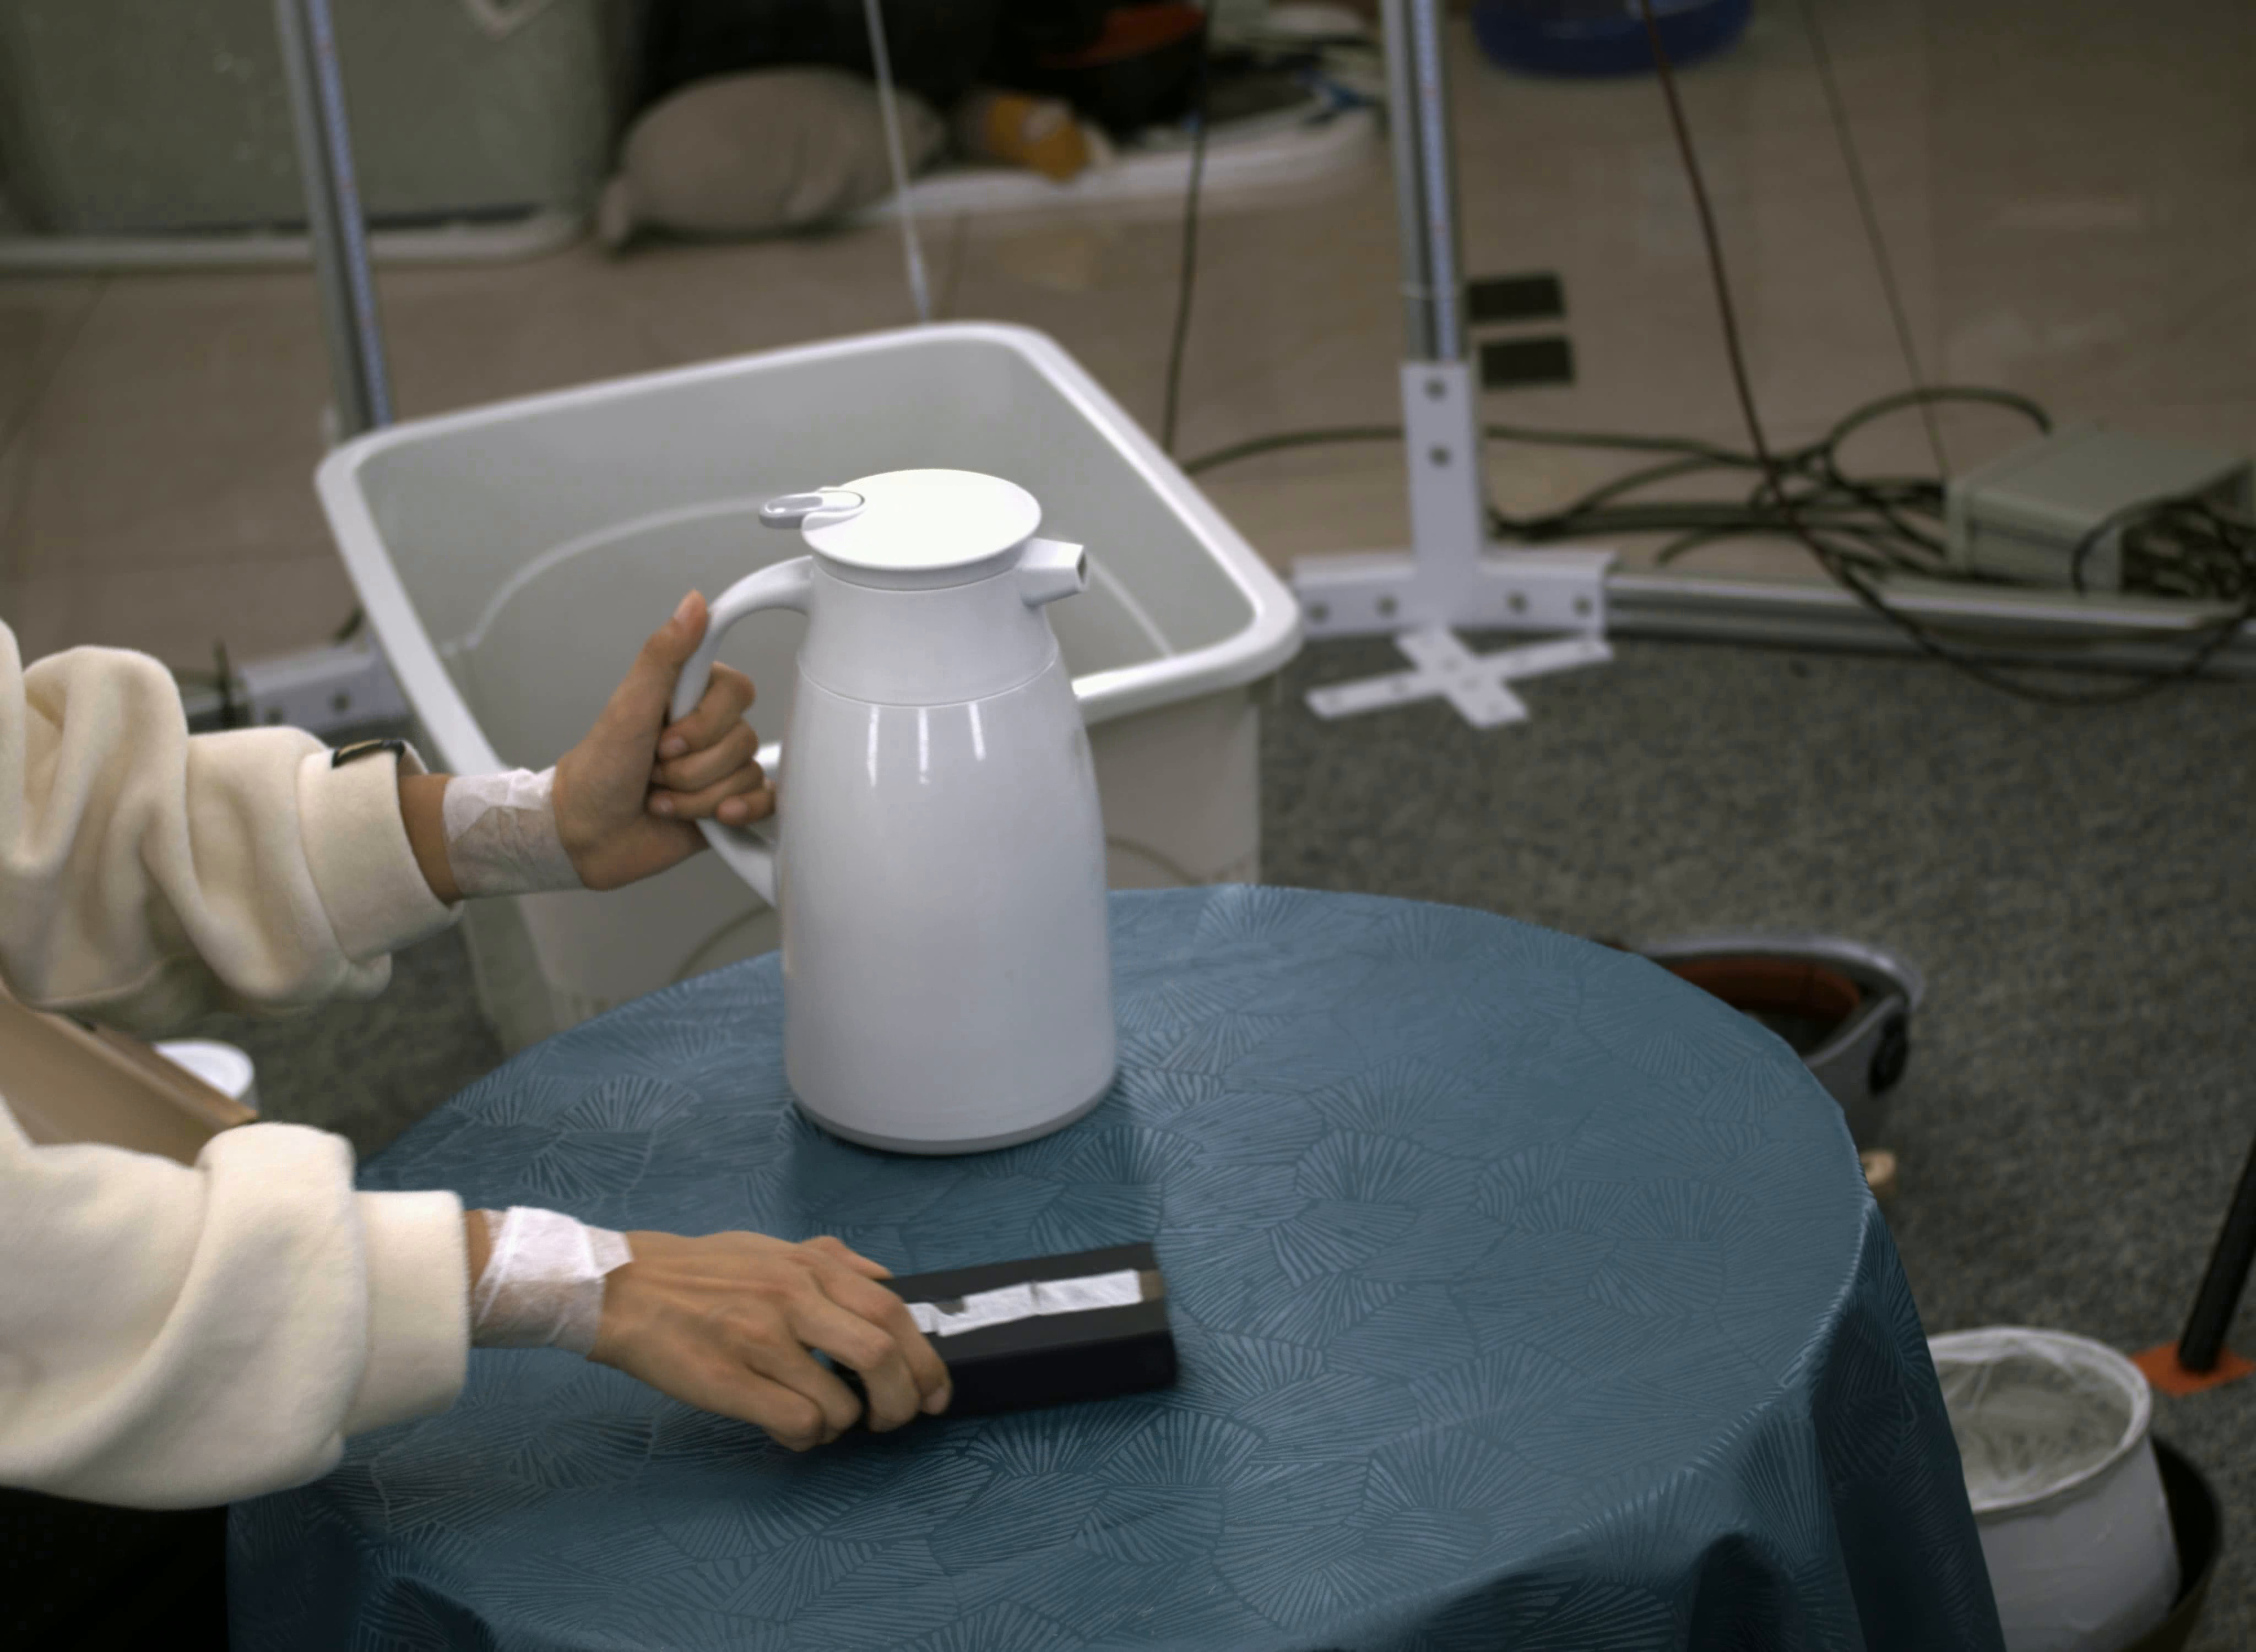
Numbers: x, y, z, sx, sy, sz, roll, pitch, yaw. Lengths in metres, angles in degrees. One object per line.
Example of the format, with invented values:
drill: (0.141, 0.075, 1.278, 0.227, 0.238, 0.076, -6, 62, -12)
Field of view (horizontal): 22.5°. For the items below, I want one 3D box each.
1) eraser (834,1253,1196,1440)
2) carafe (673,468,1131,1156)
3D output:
eraser: (-0.040, 0.184, 2.017, 0.125, 0.031, 0.052, -9, 35, -3)
carafe: (-0.090, -0.012, 2.185, 0.167, 0.253, 0.130, 0, 27, 9)
